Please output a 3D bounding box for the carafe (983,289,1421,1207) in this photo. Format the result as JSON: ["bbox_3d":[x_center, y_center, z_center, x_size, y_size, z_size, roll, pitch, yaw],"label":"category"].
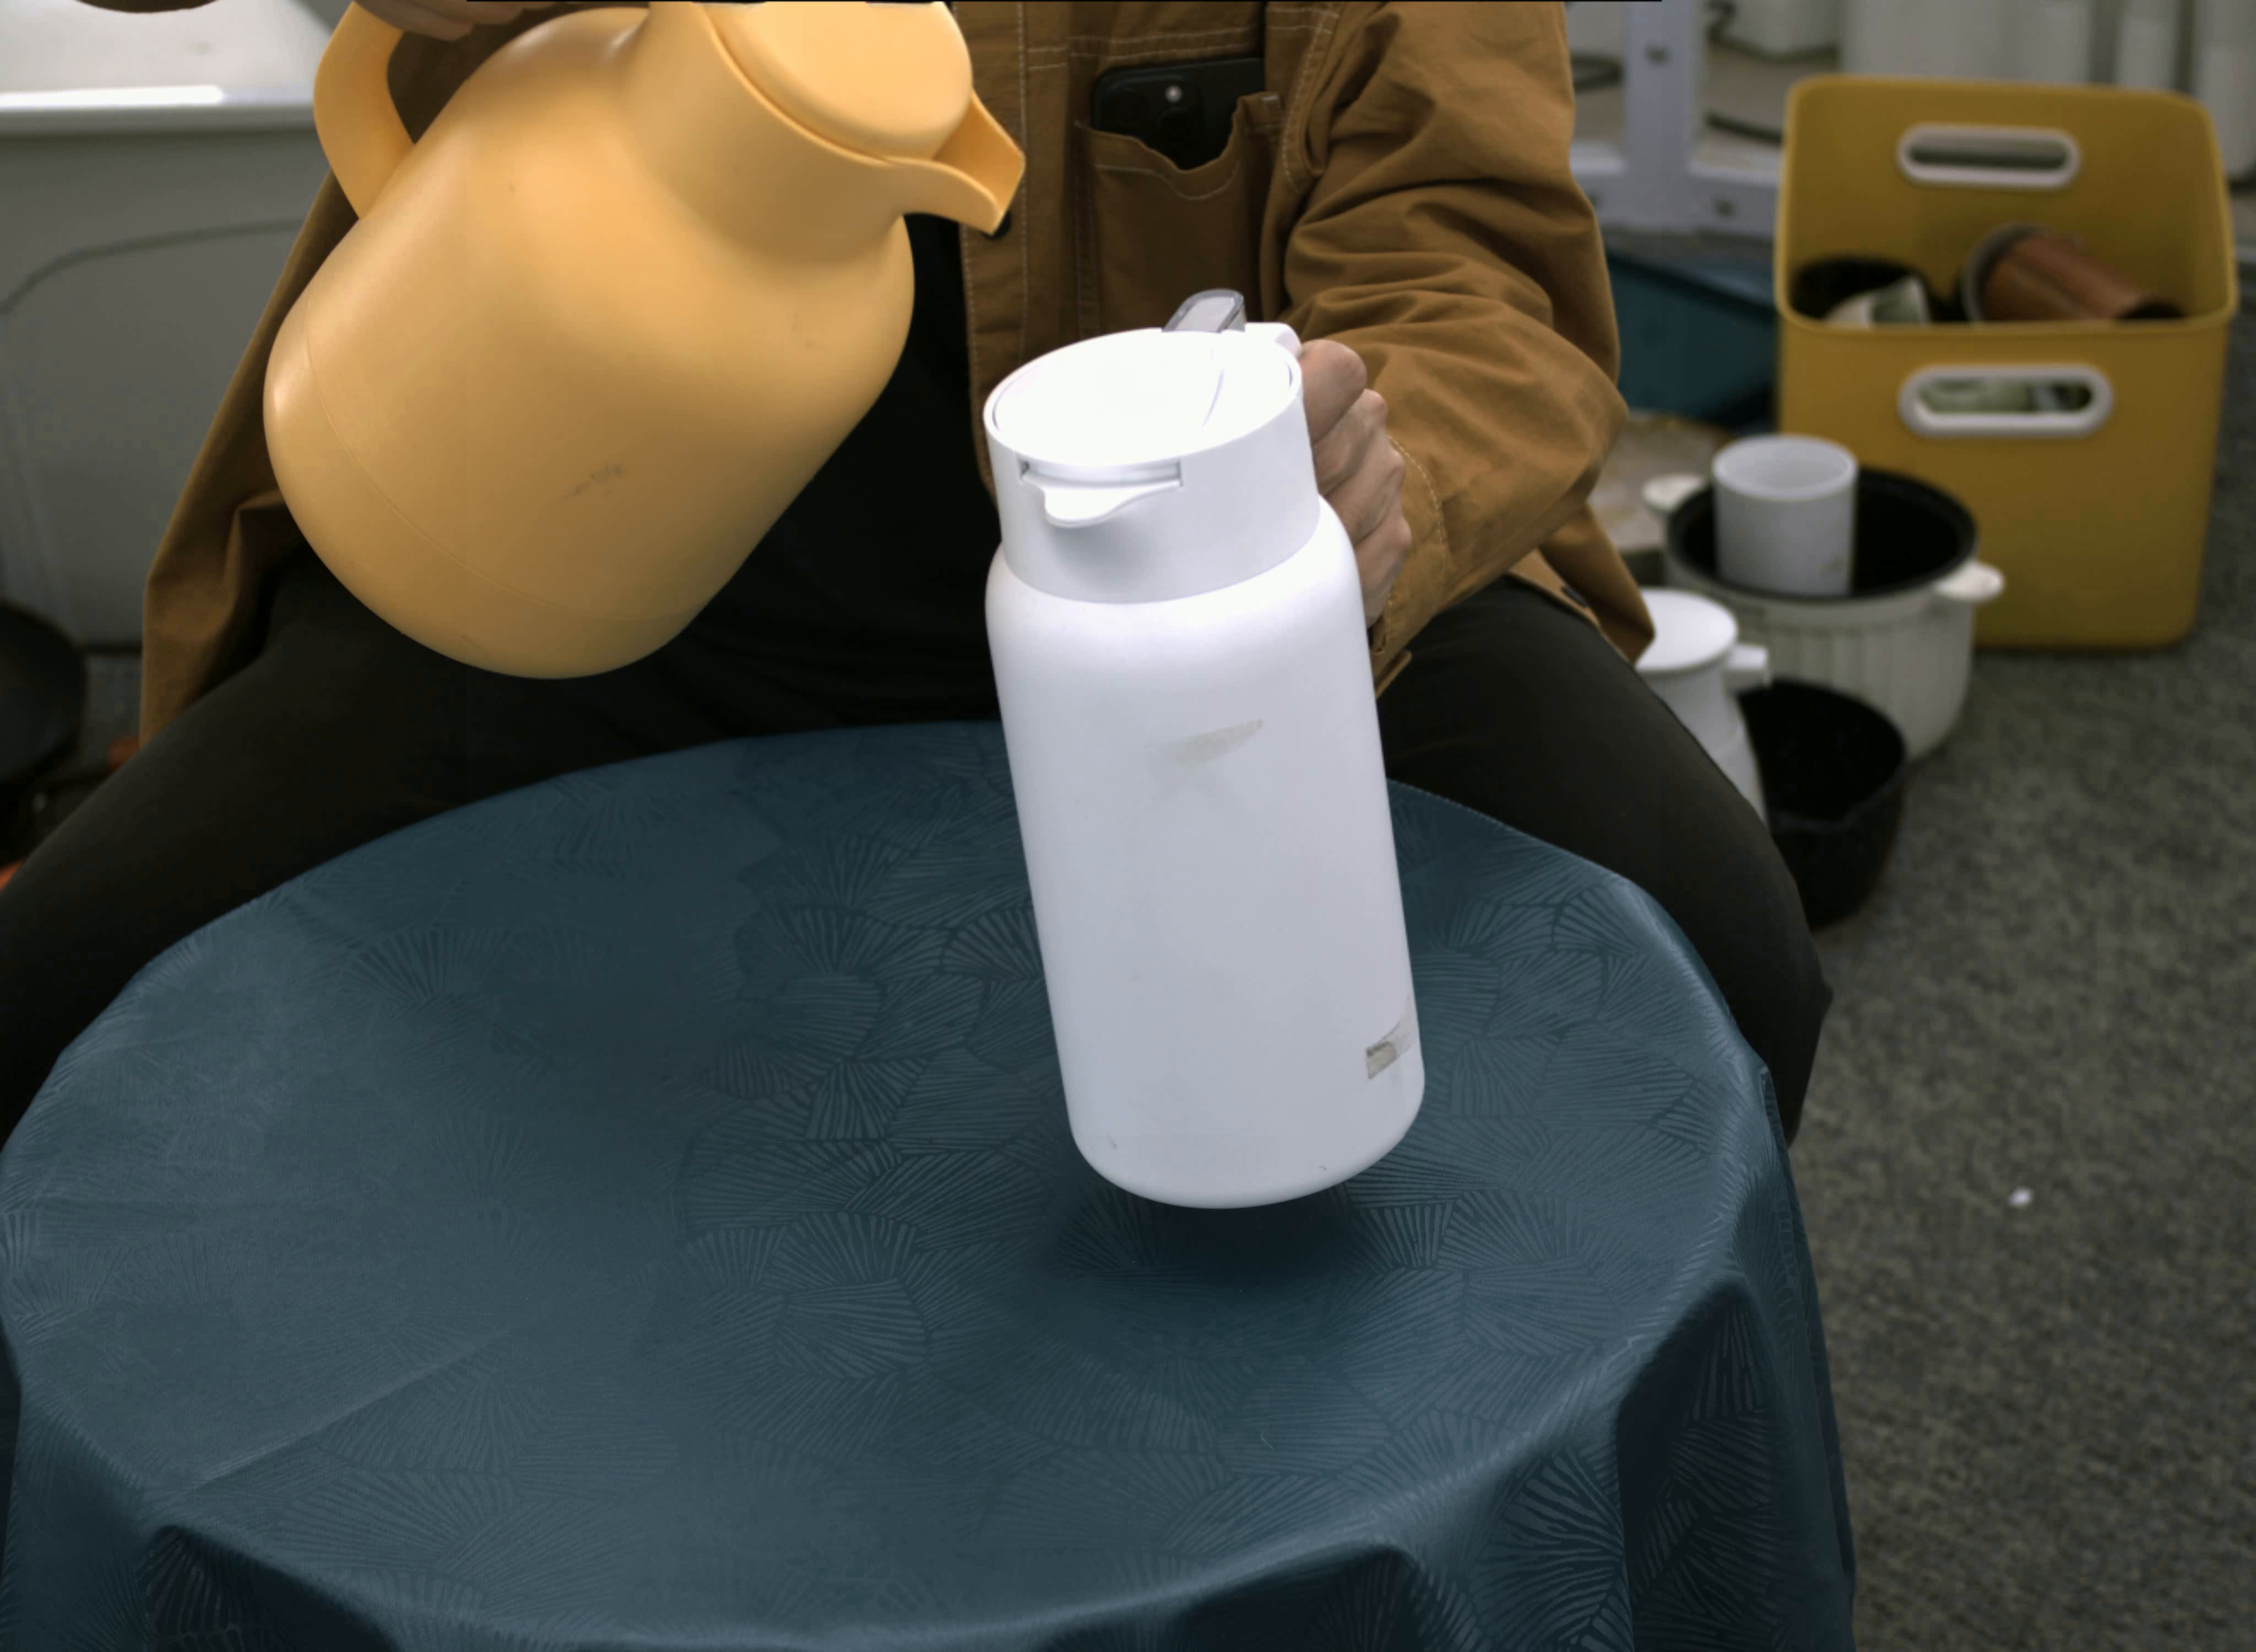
[{"bbox_3d":[0.026,-0.028,1.787,0.123,0.266,0.176,0,28,21],"label":"carafe"}]

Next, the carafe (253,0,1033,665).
[{"bbox_3d":[-0.163,-0.189,1.752,0.202,0.256,0.166,41,35,-8],"label":"carafe"}]
